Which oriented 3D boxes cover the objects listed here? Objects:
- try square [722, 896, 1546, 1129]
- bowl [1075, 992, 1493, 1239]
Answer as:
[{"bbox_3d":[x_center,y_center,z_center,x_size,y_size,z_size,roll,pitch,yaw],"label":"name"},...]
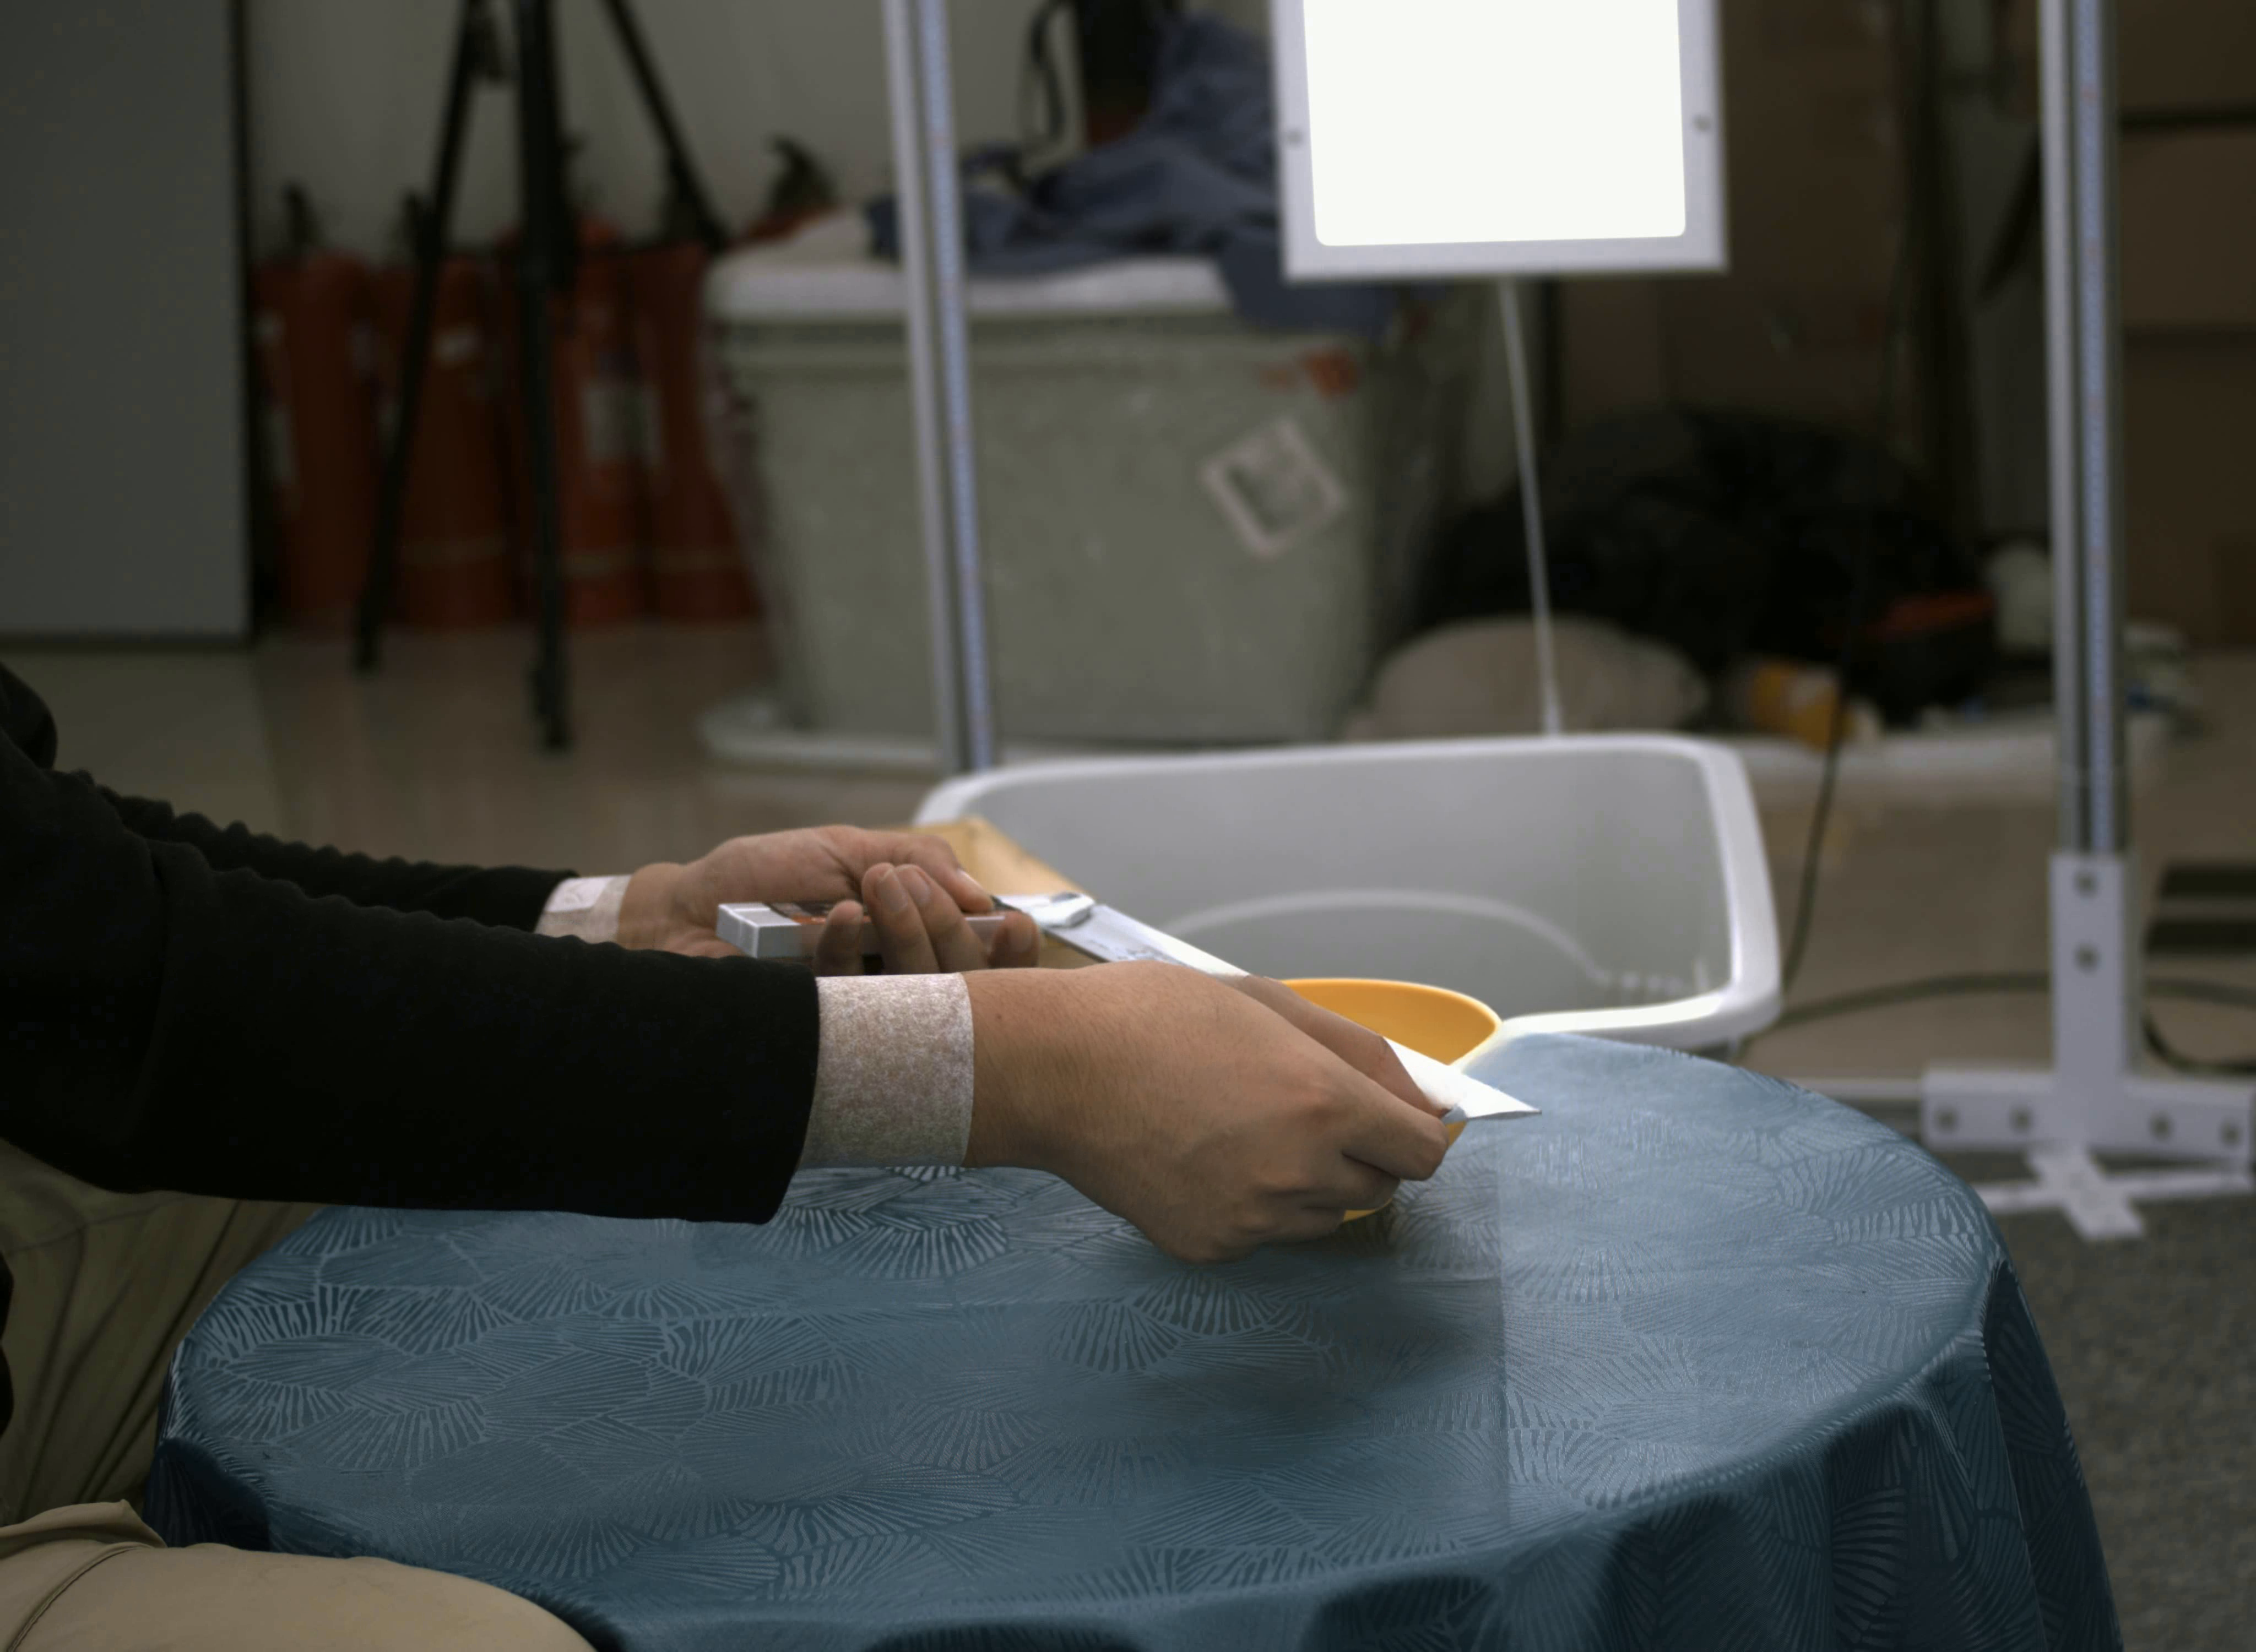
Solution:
[{"bbox_3d":[-0.006,0.063,1.809,0.149,0.016,0.318,-3,12,-25],"label":"try square"},{"bbox_3d":[0.057,0.102,1.865,0.145,0.060,0.145,-8,12,0],"label":"bowl"}]
